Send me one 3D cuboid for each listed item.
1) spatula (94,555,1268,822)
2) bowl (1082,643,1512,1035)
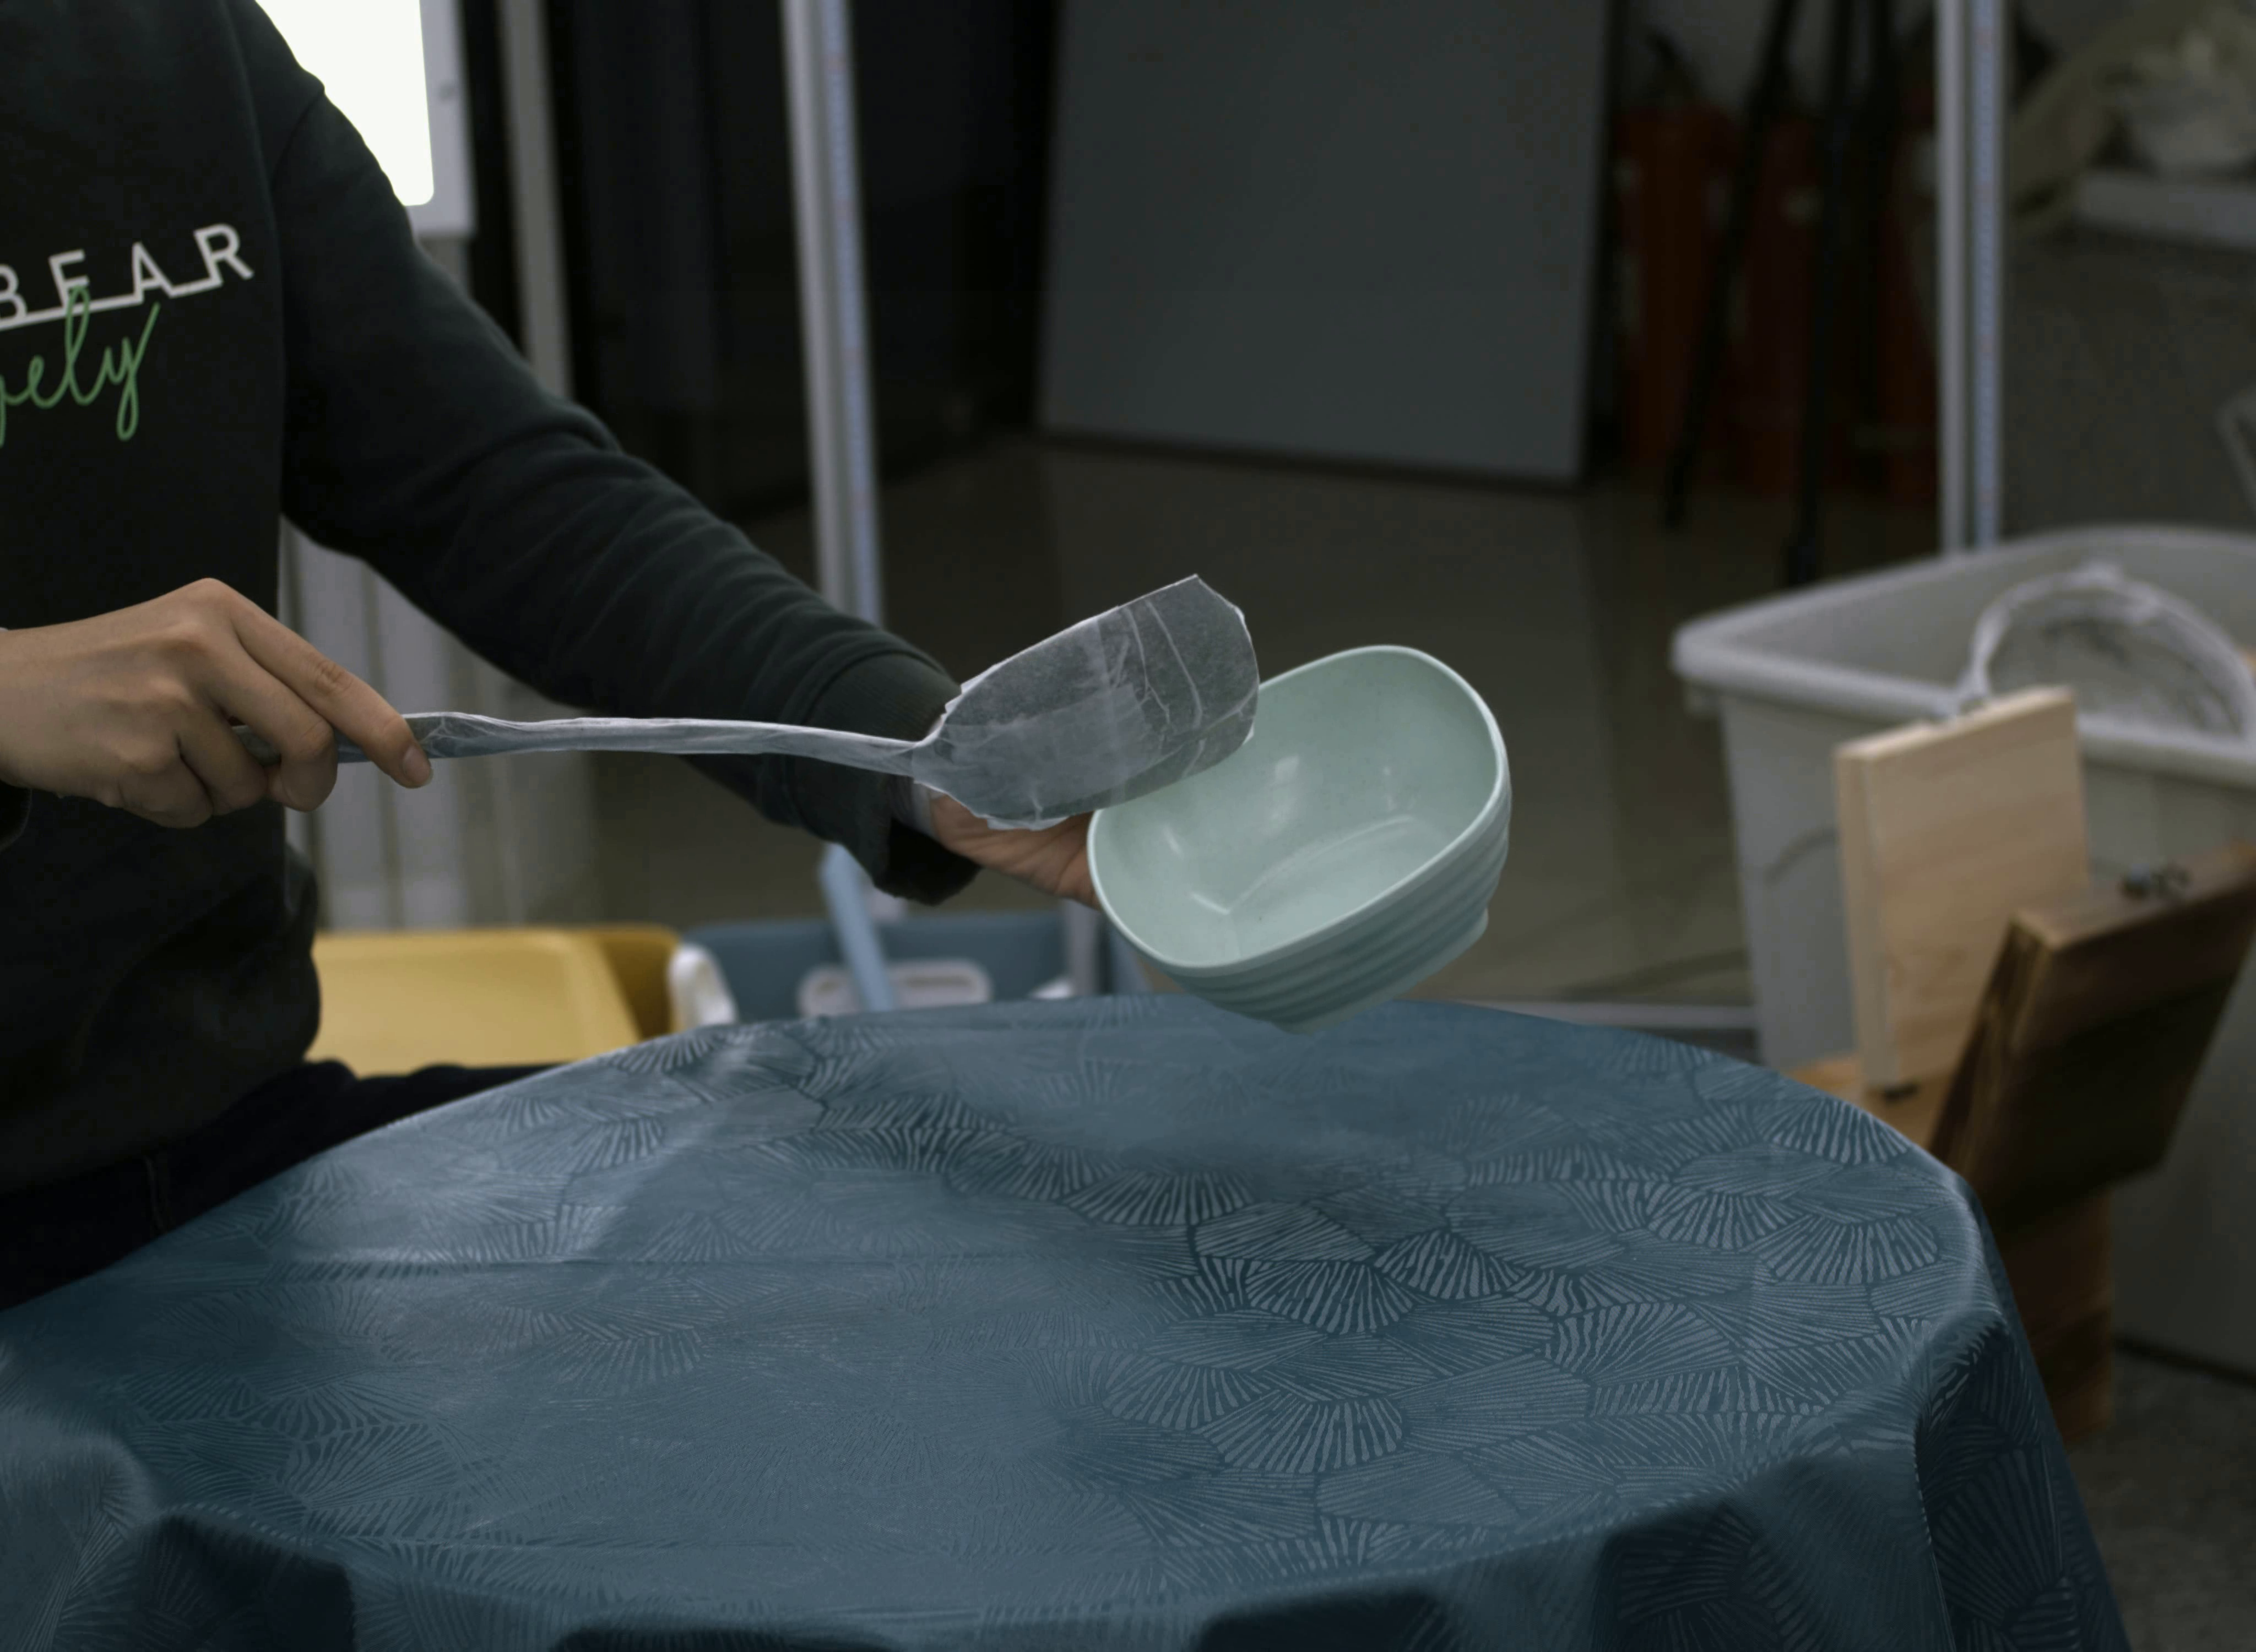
[{"bbox_3d":[-0.138,-0.031,1.636,0.362,0.098,0.045,-2,56,9],"label":"spatula"},{"bbox_3d":[0.061,0.013,1.721,0.151,0.058,0.152,-18,35,12],"label":"bowl"}]
